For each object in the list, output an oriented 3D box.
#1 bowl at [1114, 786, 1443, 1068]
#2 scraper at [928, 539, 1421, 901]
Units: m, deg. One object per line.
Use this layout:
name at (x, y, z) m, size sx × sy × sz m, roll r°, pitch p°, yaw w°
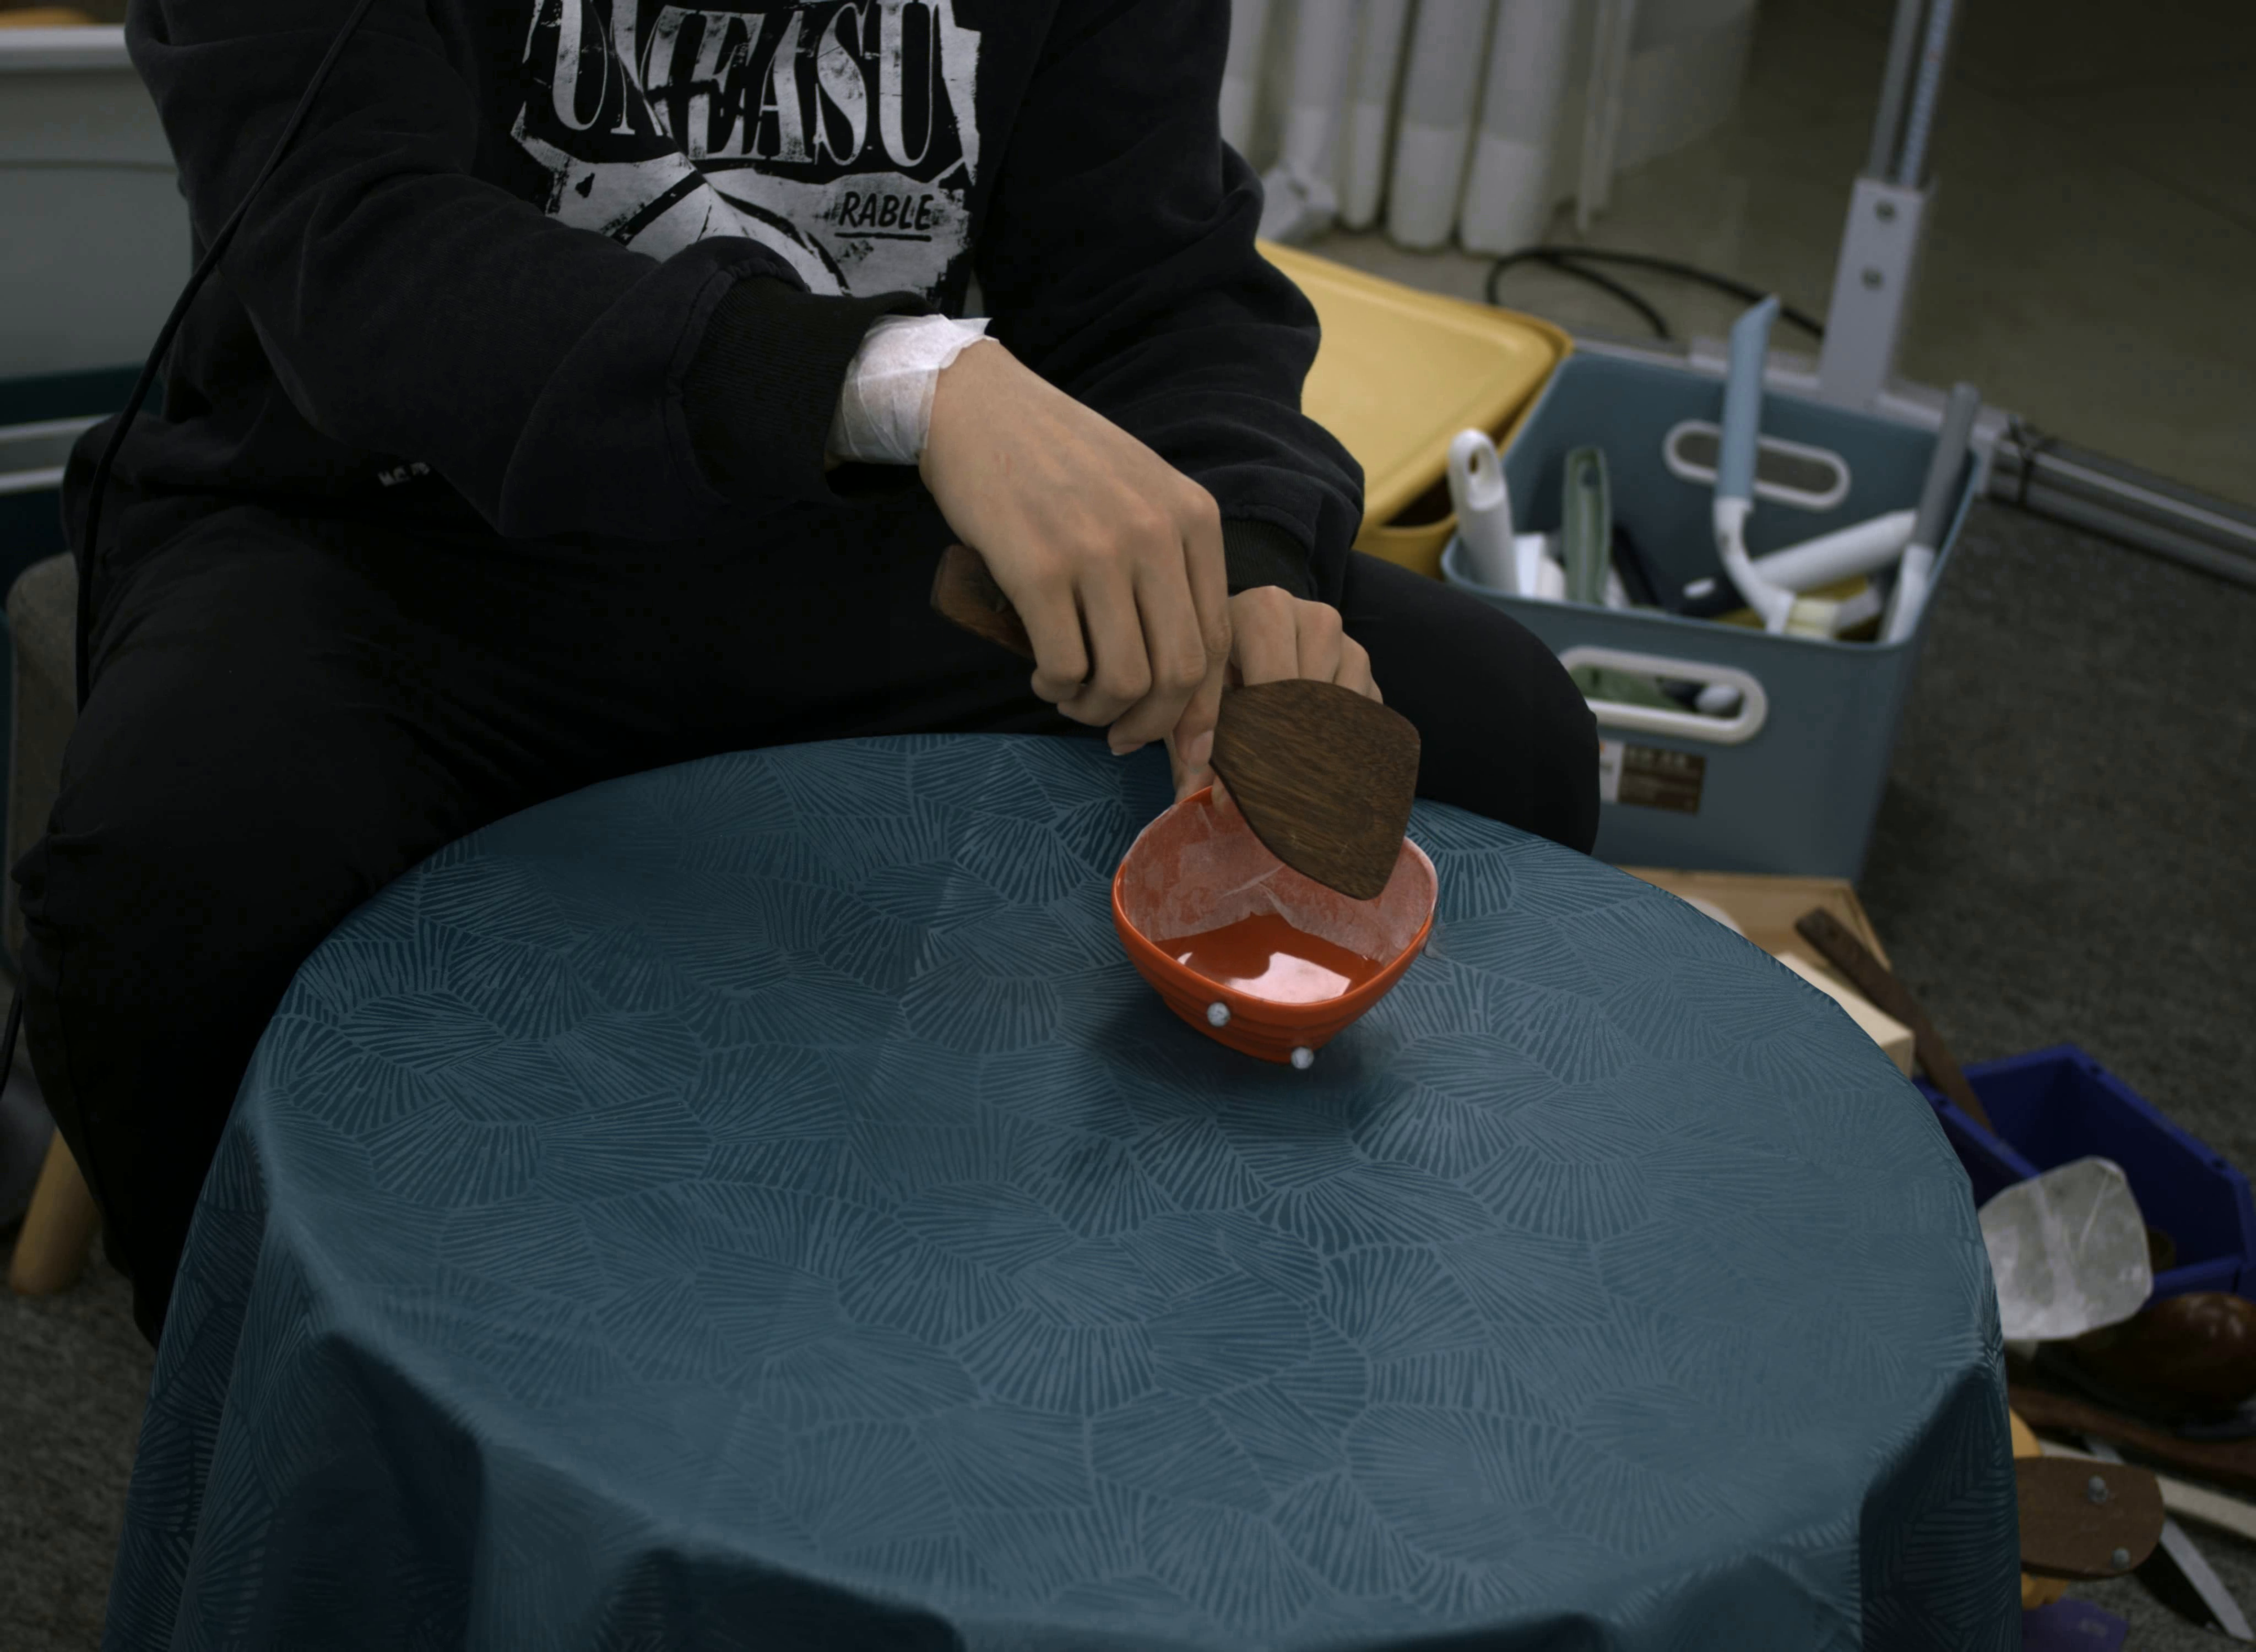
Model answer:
bowl at (0.053, 0.042, 1.903) m, size 0.118 × 0.051 × 0.120 m, roll 0°, pitch 44°, yaw -1°
scraper at (0.016, -0.045, 1.857) m, size 0.209 × 0.076 × 0.011 m, roll 28°, pitch -23°, yaw -28°
